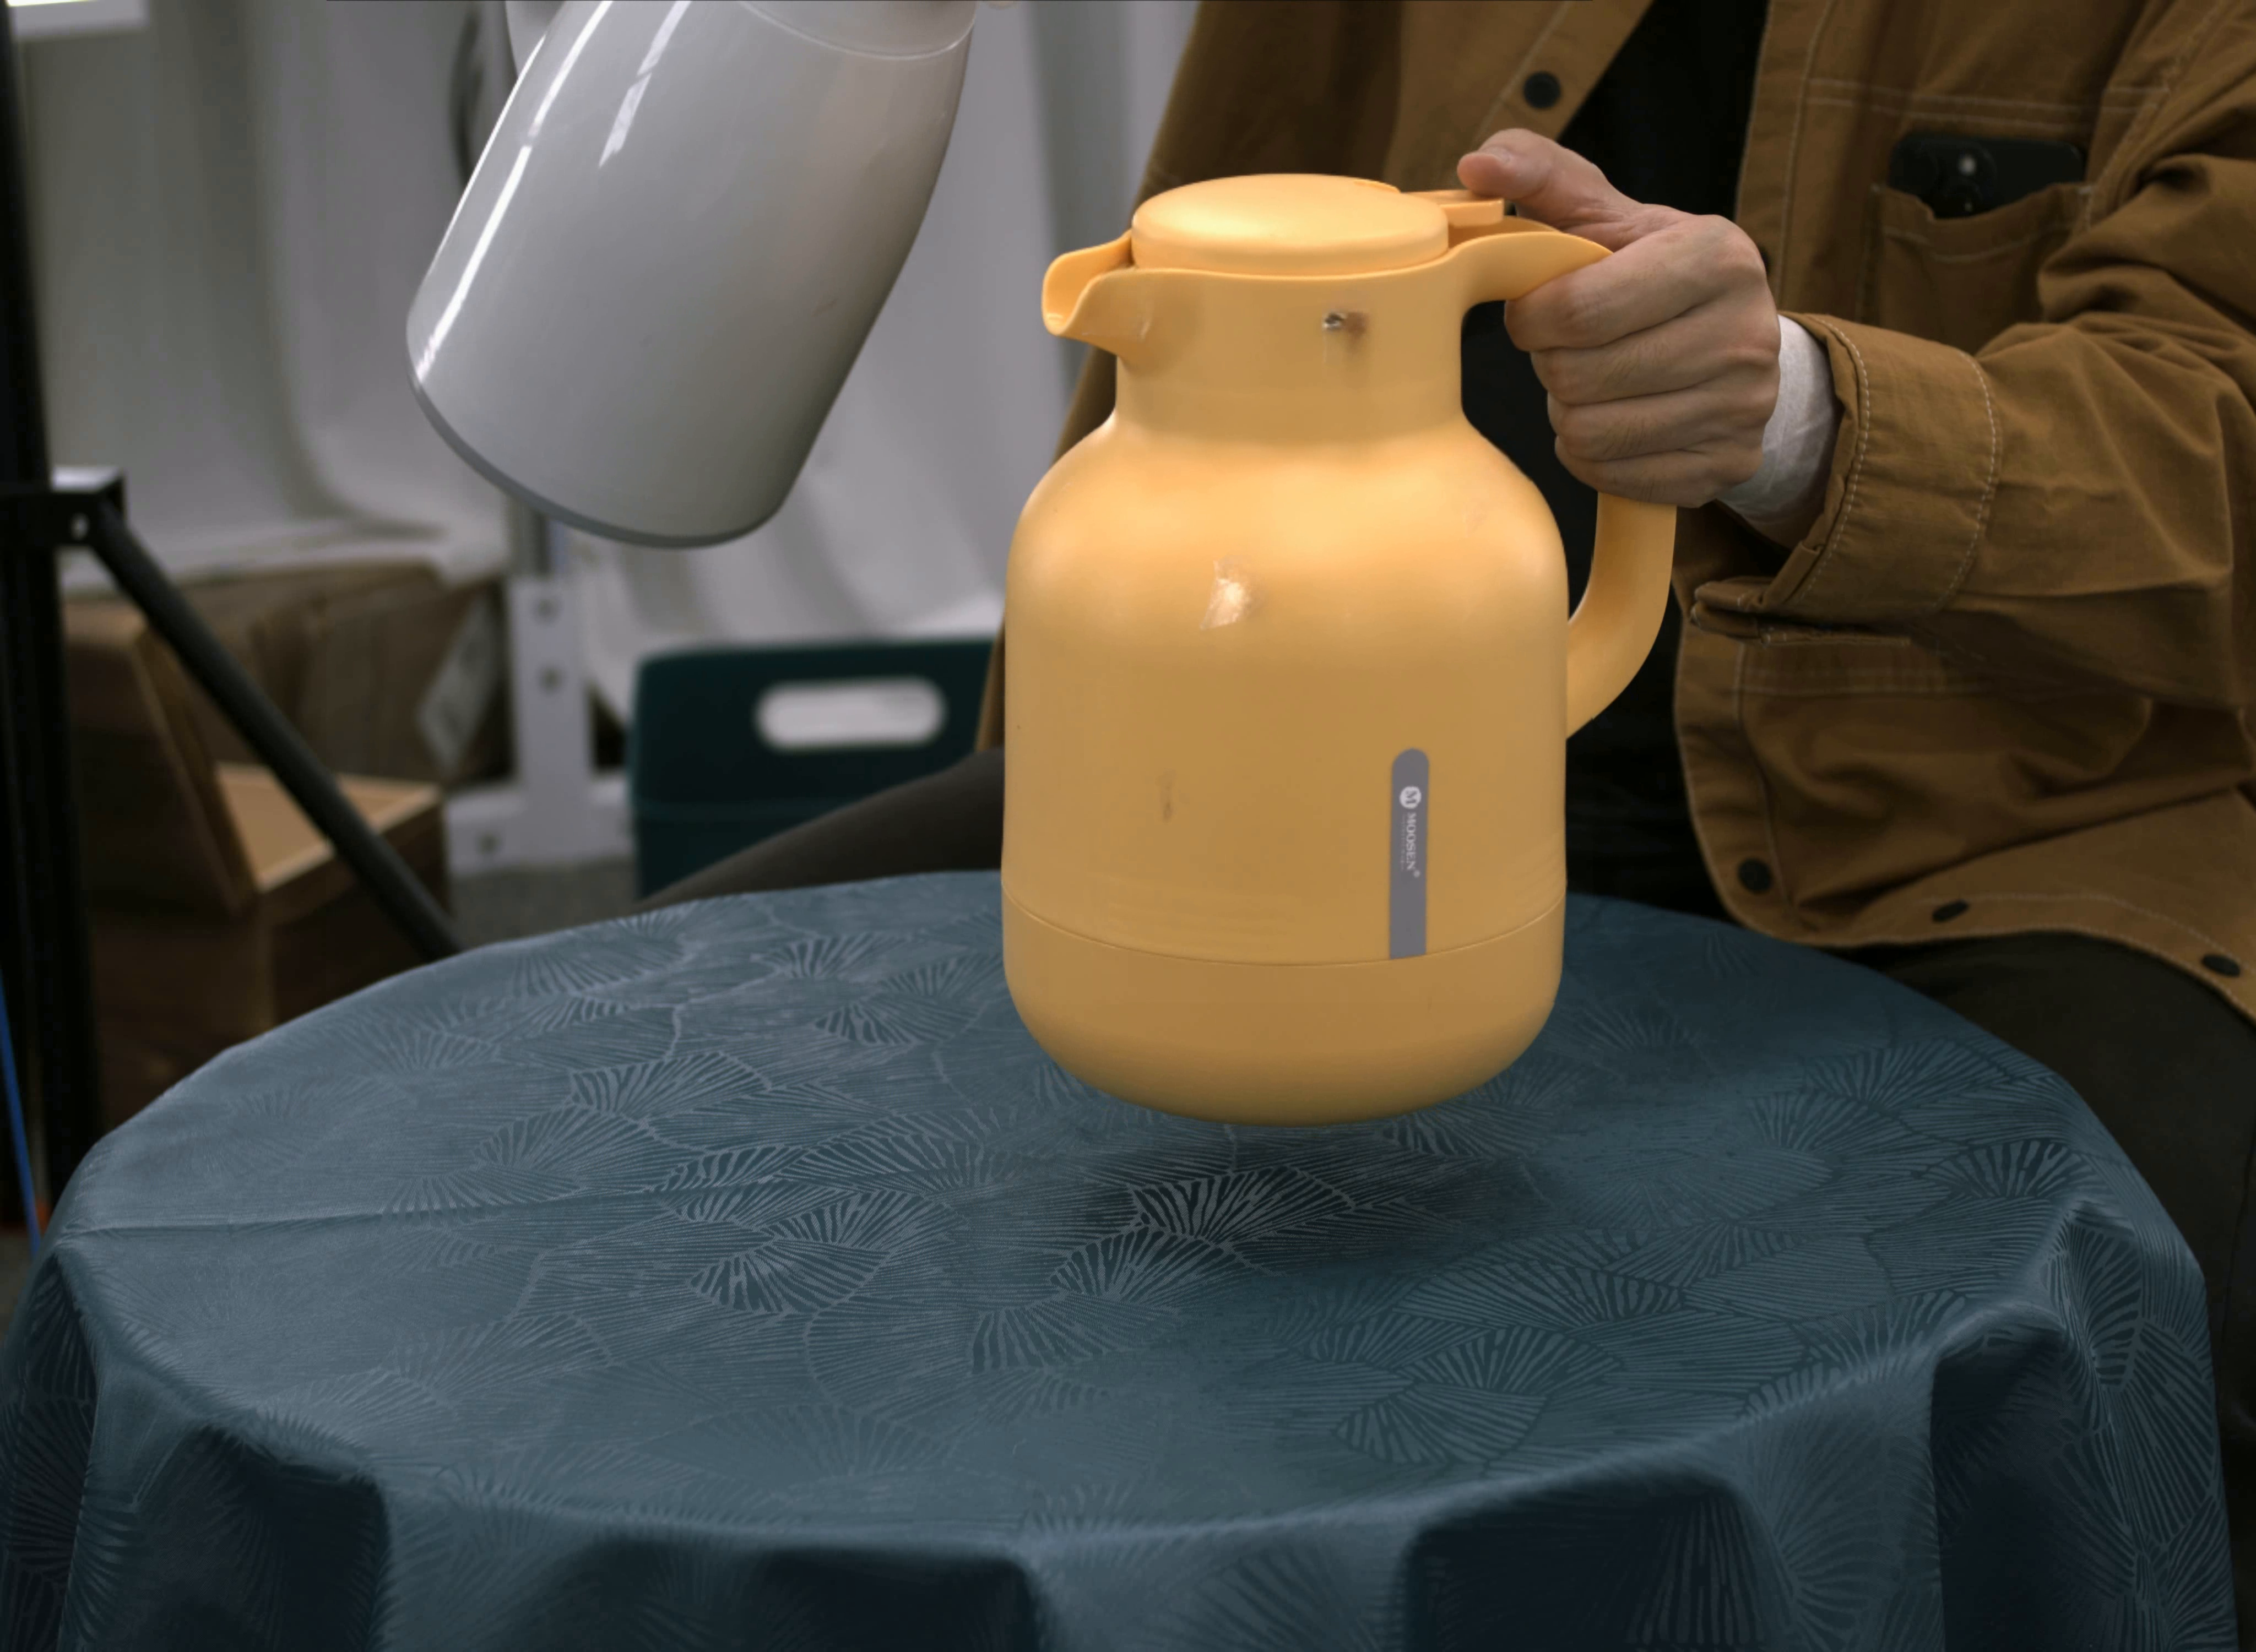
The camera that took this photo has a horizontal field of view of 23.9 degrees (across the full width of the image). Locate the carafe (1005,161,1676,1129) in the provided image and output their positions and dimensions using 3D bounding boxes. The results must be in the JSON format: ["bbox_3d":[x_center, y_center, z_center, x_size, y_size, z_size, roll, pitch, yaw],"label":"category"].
[{"bbox_3d":[0.064,-0.057,1.512,0.198,0.260,0.167,-9,21,-21],"label":"carafe"}]

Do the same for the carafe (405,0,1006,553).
[{"bbox_3d":[-0.128,-0.228,1.615,0.170,0.250,0.130,44,39,18],"label":"carafe"}]
